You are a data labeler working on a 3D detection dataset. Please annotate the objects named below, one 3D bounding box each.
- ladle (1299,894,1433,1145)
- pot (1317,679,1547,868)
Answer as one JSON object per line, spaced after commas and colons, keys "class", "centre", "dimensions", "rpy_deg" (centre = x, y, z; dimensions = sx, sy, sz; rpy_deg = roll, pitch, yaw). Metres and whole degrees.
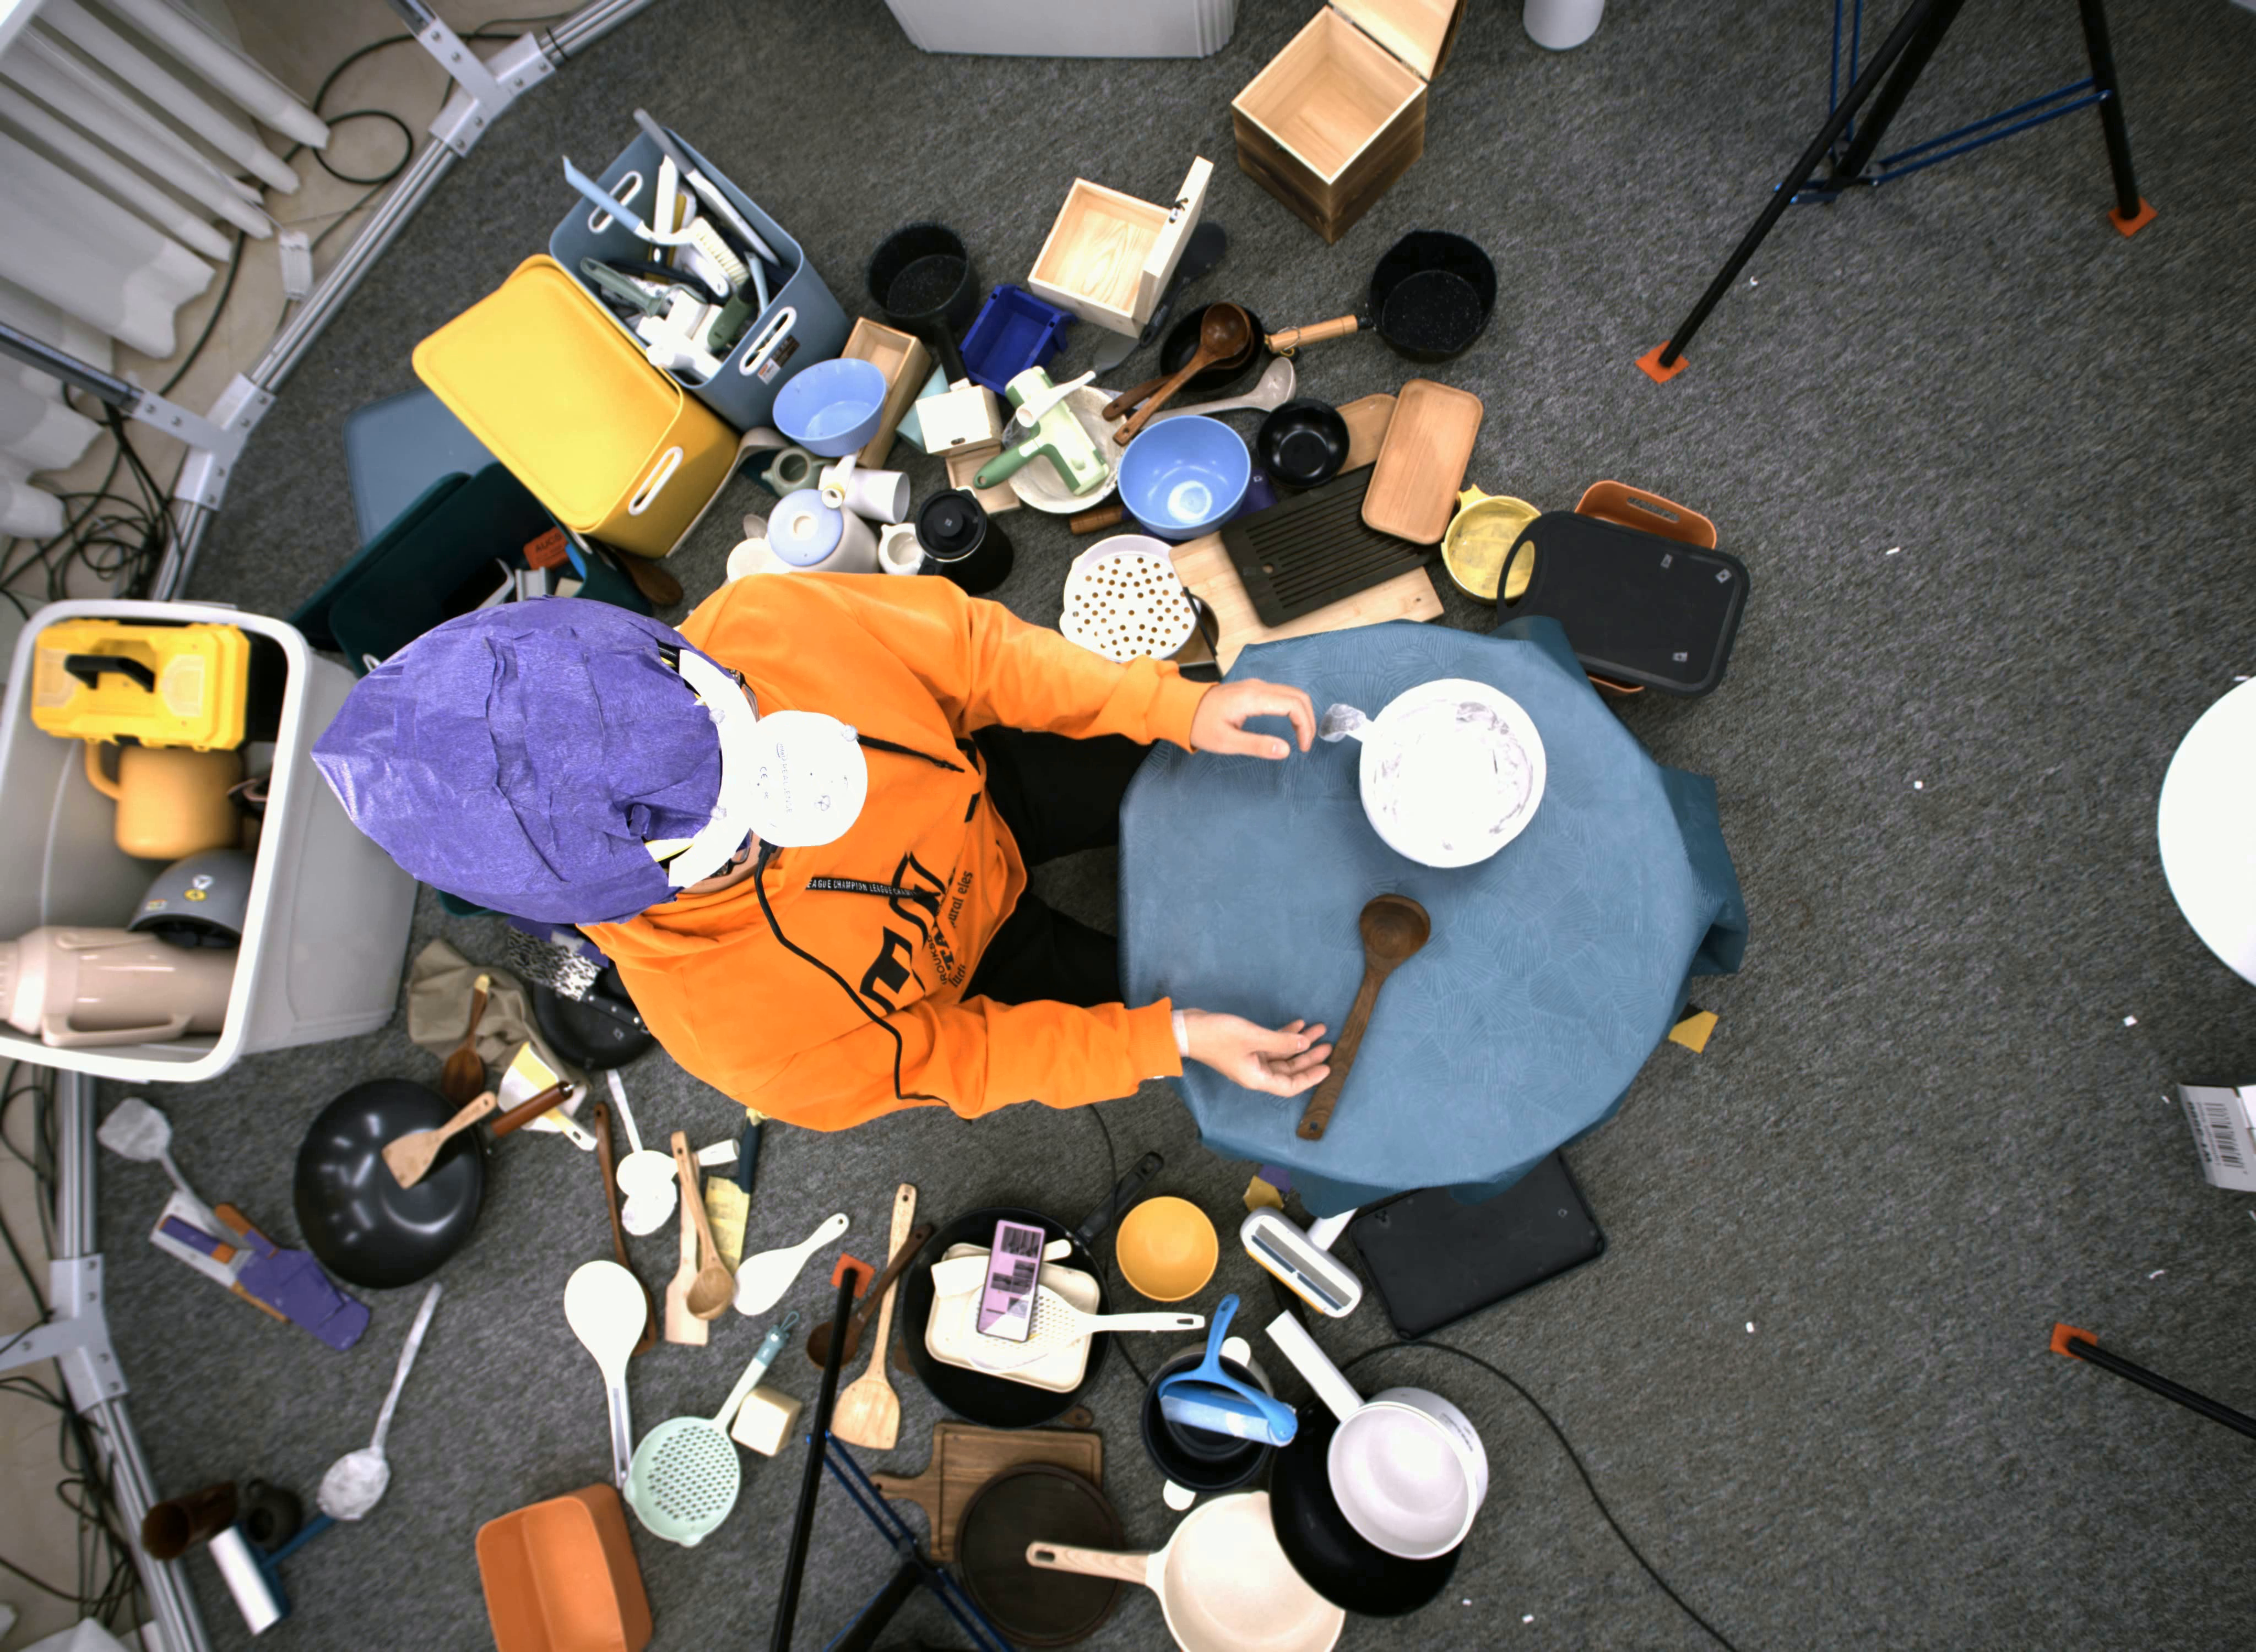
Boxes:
{"class": "ladle", "centre": [0.236, 0.200, 1.424], "dimensions": [0.076, 0.071, 0.274], "rpy_deg": [23, 90, 14]}
{"class": "pot", "centre": [0.299, -0.063, 1.392], "dimensions": [0.233, 0.137, 0.179], "rpy_deg": [27, 90, 11]}
